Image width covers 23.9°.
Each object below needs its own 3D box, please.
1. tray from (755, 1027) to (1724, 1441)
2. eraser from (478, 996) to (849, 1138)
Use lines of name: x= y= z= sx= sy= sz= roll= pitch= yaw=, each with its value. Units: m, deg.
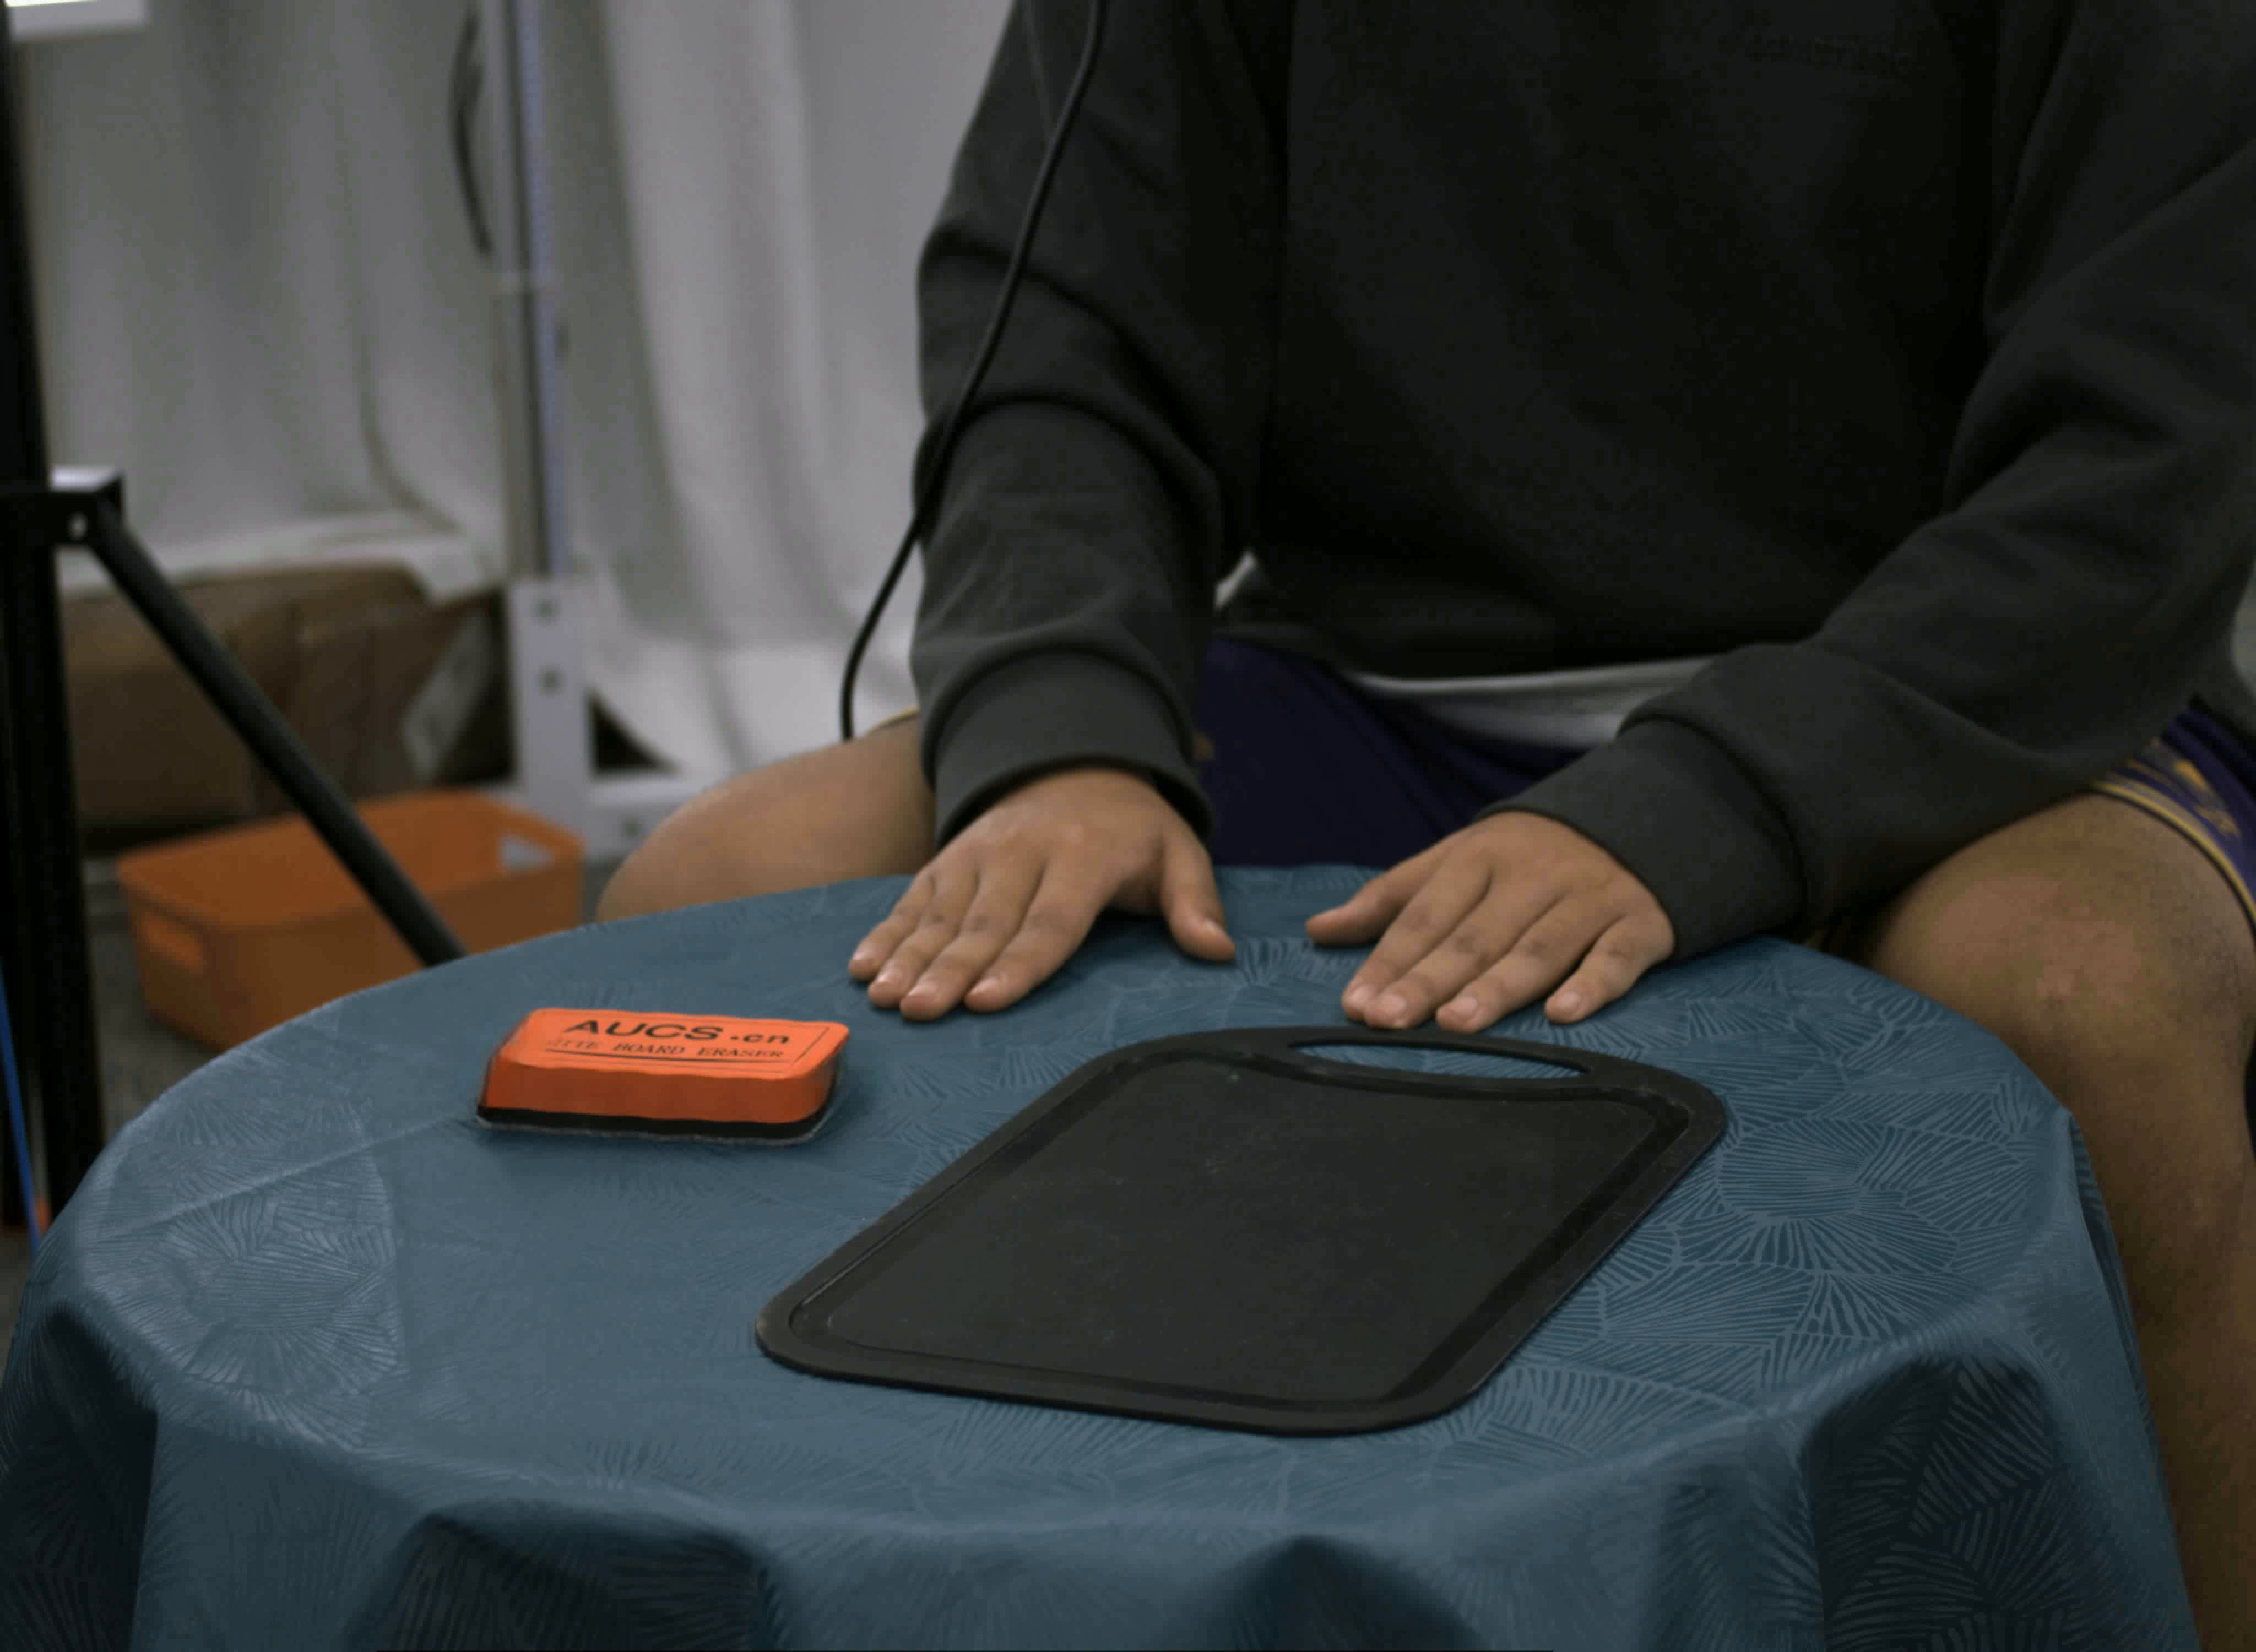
tray: x=0.042 y=0.109 z=1.540 sx=0.214 sy=0.010 sz=0.320 roll=5 pitch=17 yaw=24
eraser: x=-0.143 y=0.074 z=1.650 sx=0.109 sy=0.023 sz=0.058 roll=4 pitch=18 yaw=16
